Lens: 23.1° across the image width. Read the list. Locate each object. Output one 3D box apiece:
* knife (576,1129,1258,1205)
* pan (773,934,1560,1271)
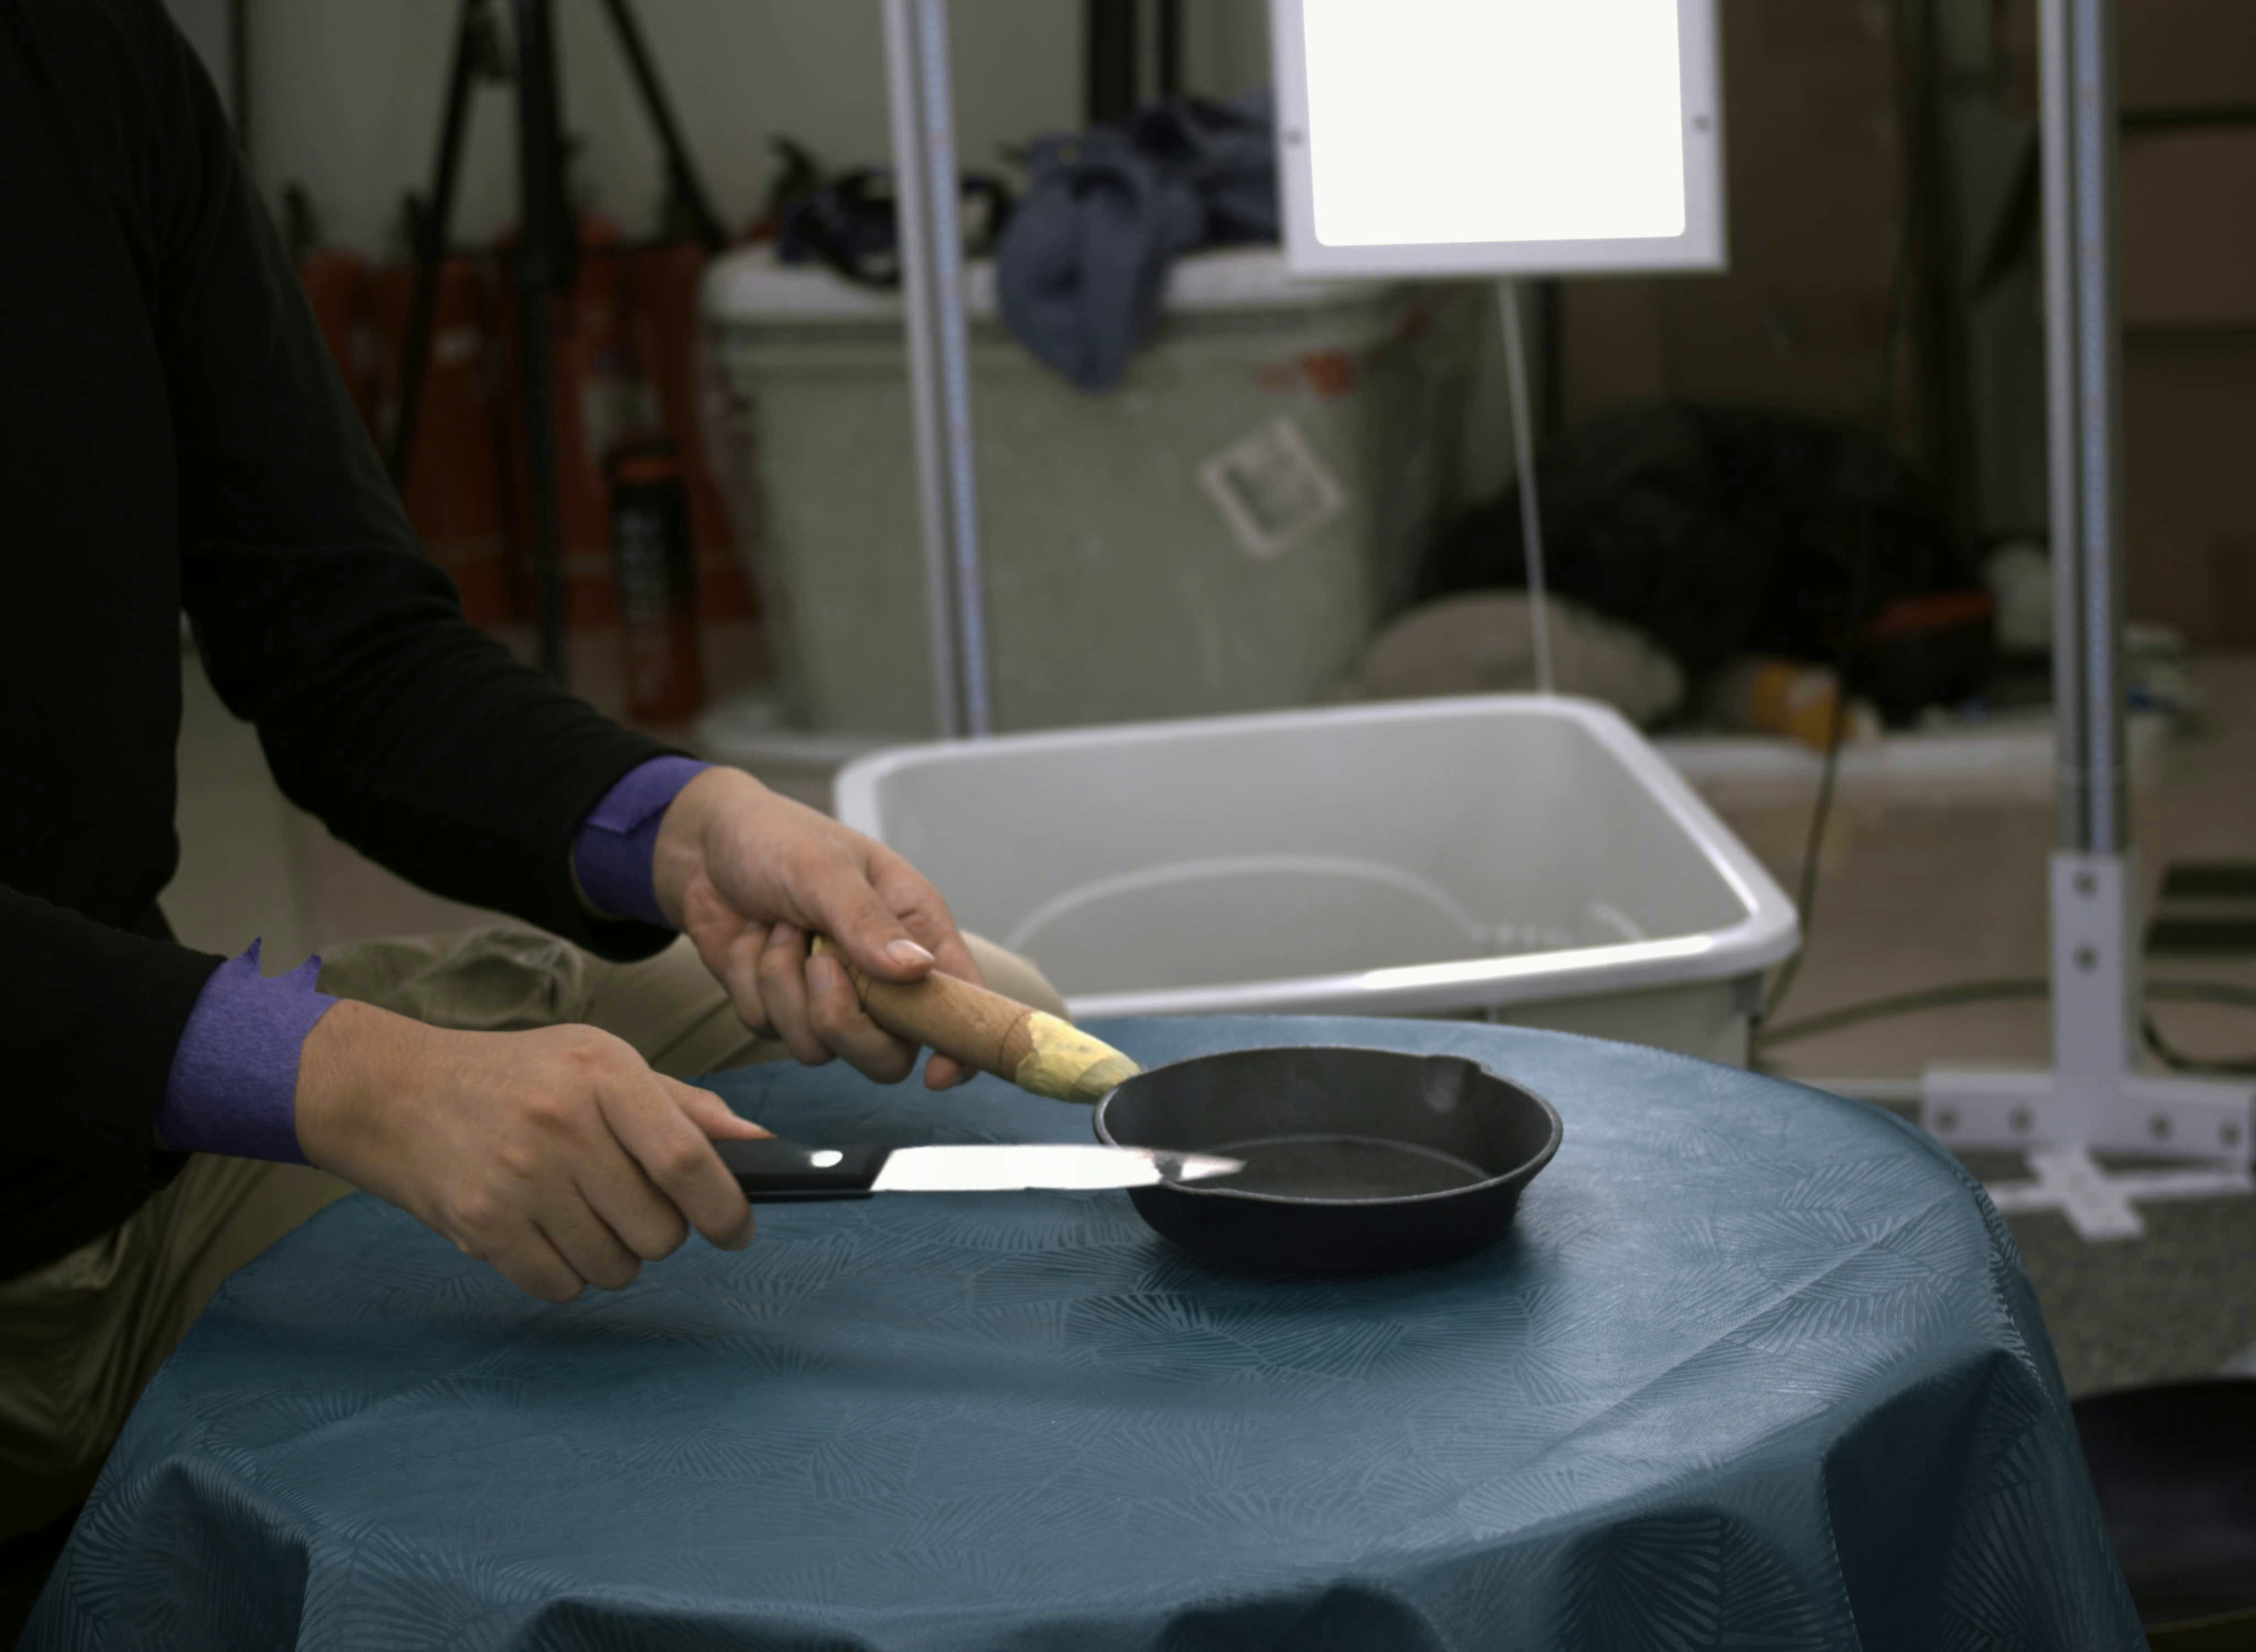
[{"bbox_3d":[-0.071,0.108,1.755,0.242,0.016,0.024,-4,35,23],"label":"knife"},{"bbox_3d":[0.002,0.090,1.890,0.331,0.050,0.164,13,21,40],"label":"pan"}]
